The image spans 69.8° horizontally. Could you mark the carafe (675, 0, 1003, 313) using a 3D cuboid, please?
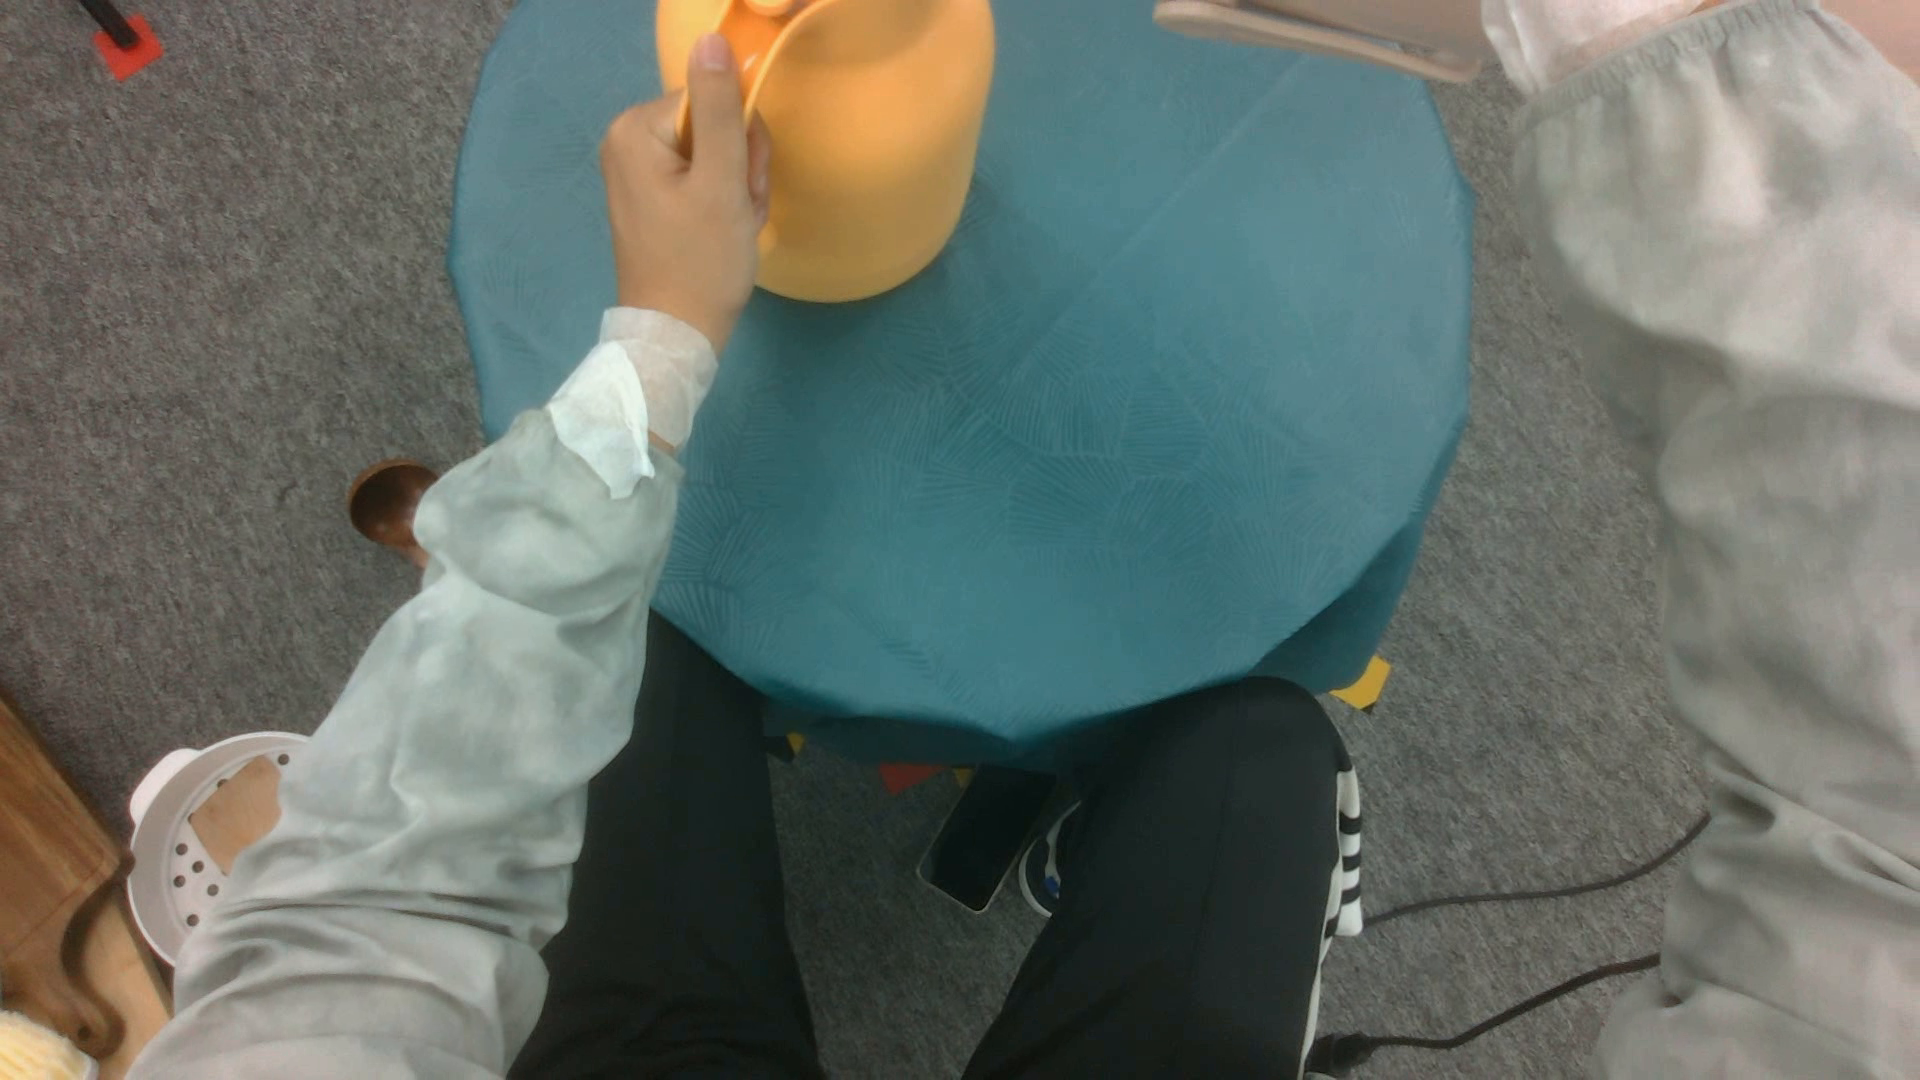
[{"bbox_3d":[-0.070,-0.216,0.683,0.163,0.259,0.203,27,72,3],"label":"carafe"}]

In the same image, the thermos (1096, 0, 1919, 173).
[{"bbox_3d":[0.167,-0.238,0.460,0.406,0.207,0.175,11,99,-2],"label":"thermos"}]
